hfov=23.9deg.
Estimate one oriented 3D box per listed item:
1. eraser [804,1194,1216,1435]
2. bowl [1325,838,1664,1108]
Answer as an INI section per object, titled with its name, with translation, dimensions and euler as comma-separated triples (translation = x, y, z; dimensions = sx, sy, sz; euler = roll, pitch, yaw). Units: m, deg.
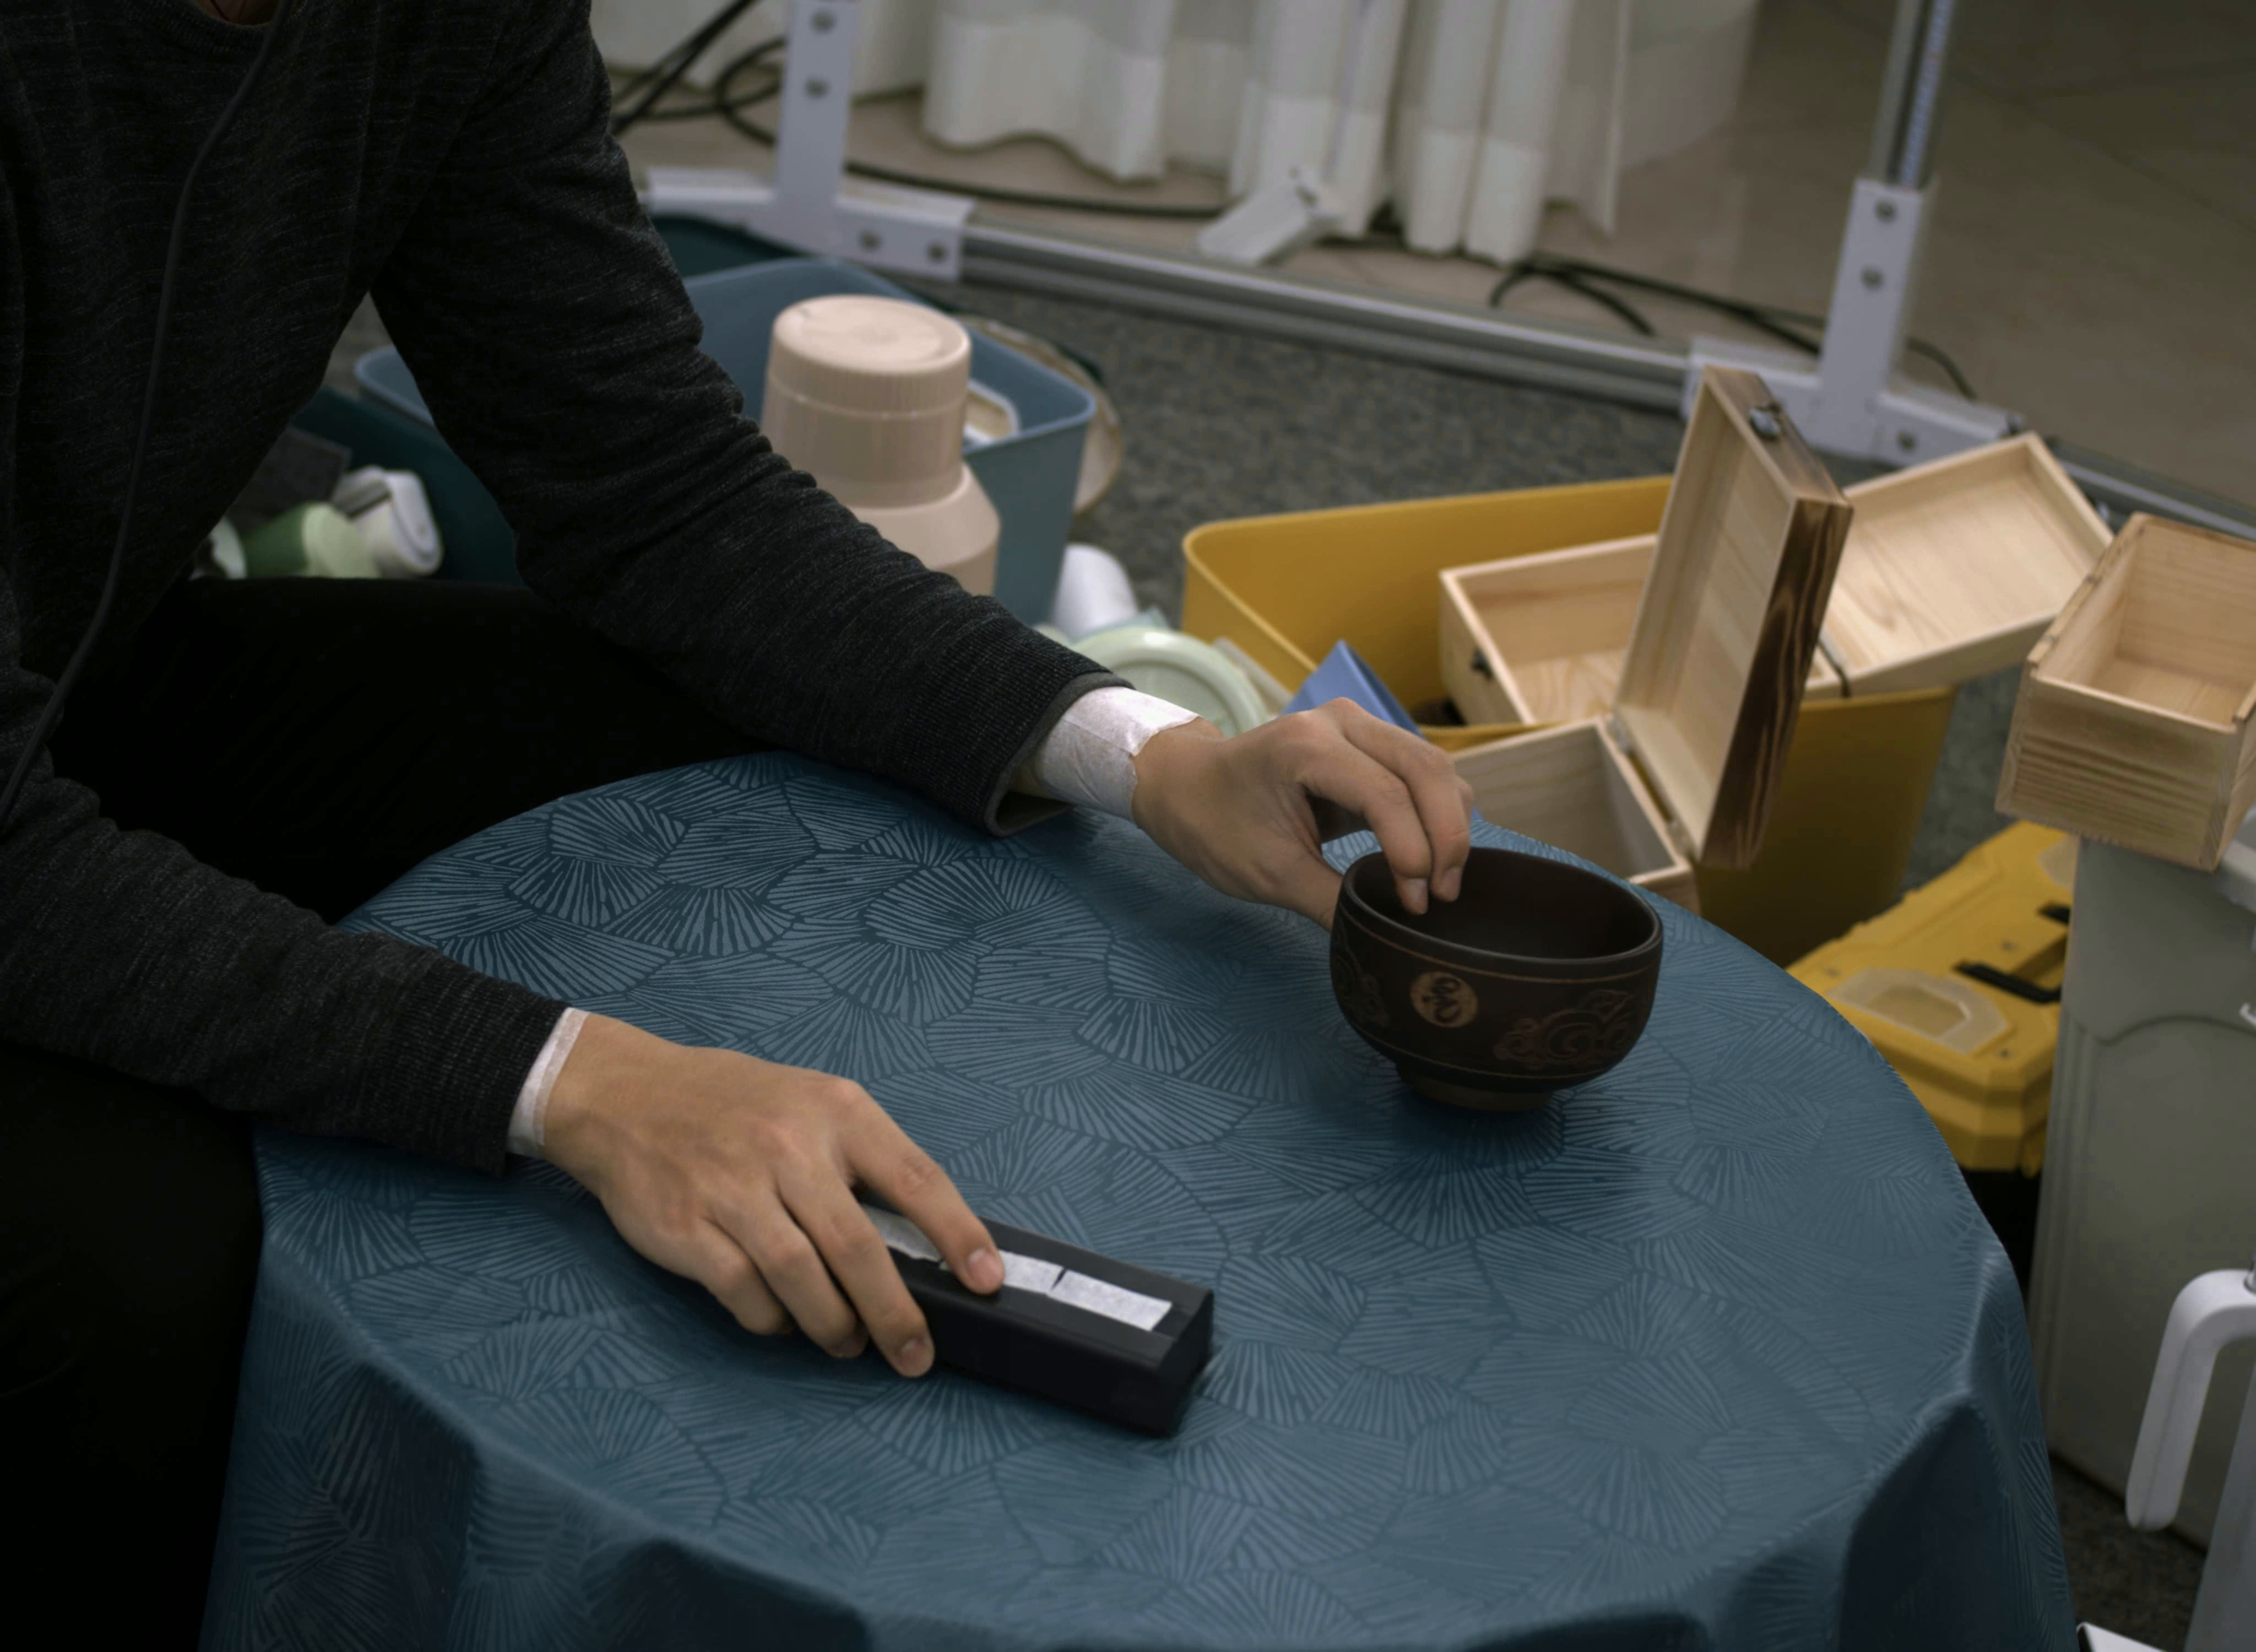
[eraser]
translation = -0.038, 0.155, 1.698
dimensions = 0.126, 0.030, 0.053
euler = 16, 29, 16
[bowl]
translation = 0.126, 0.057, 1.875
dimensions = 0.117, 0.070, 0.118
euler = 7, 19, -3
